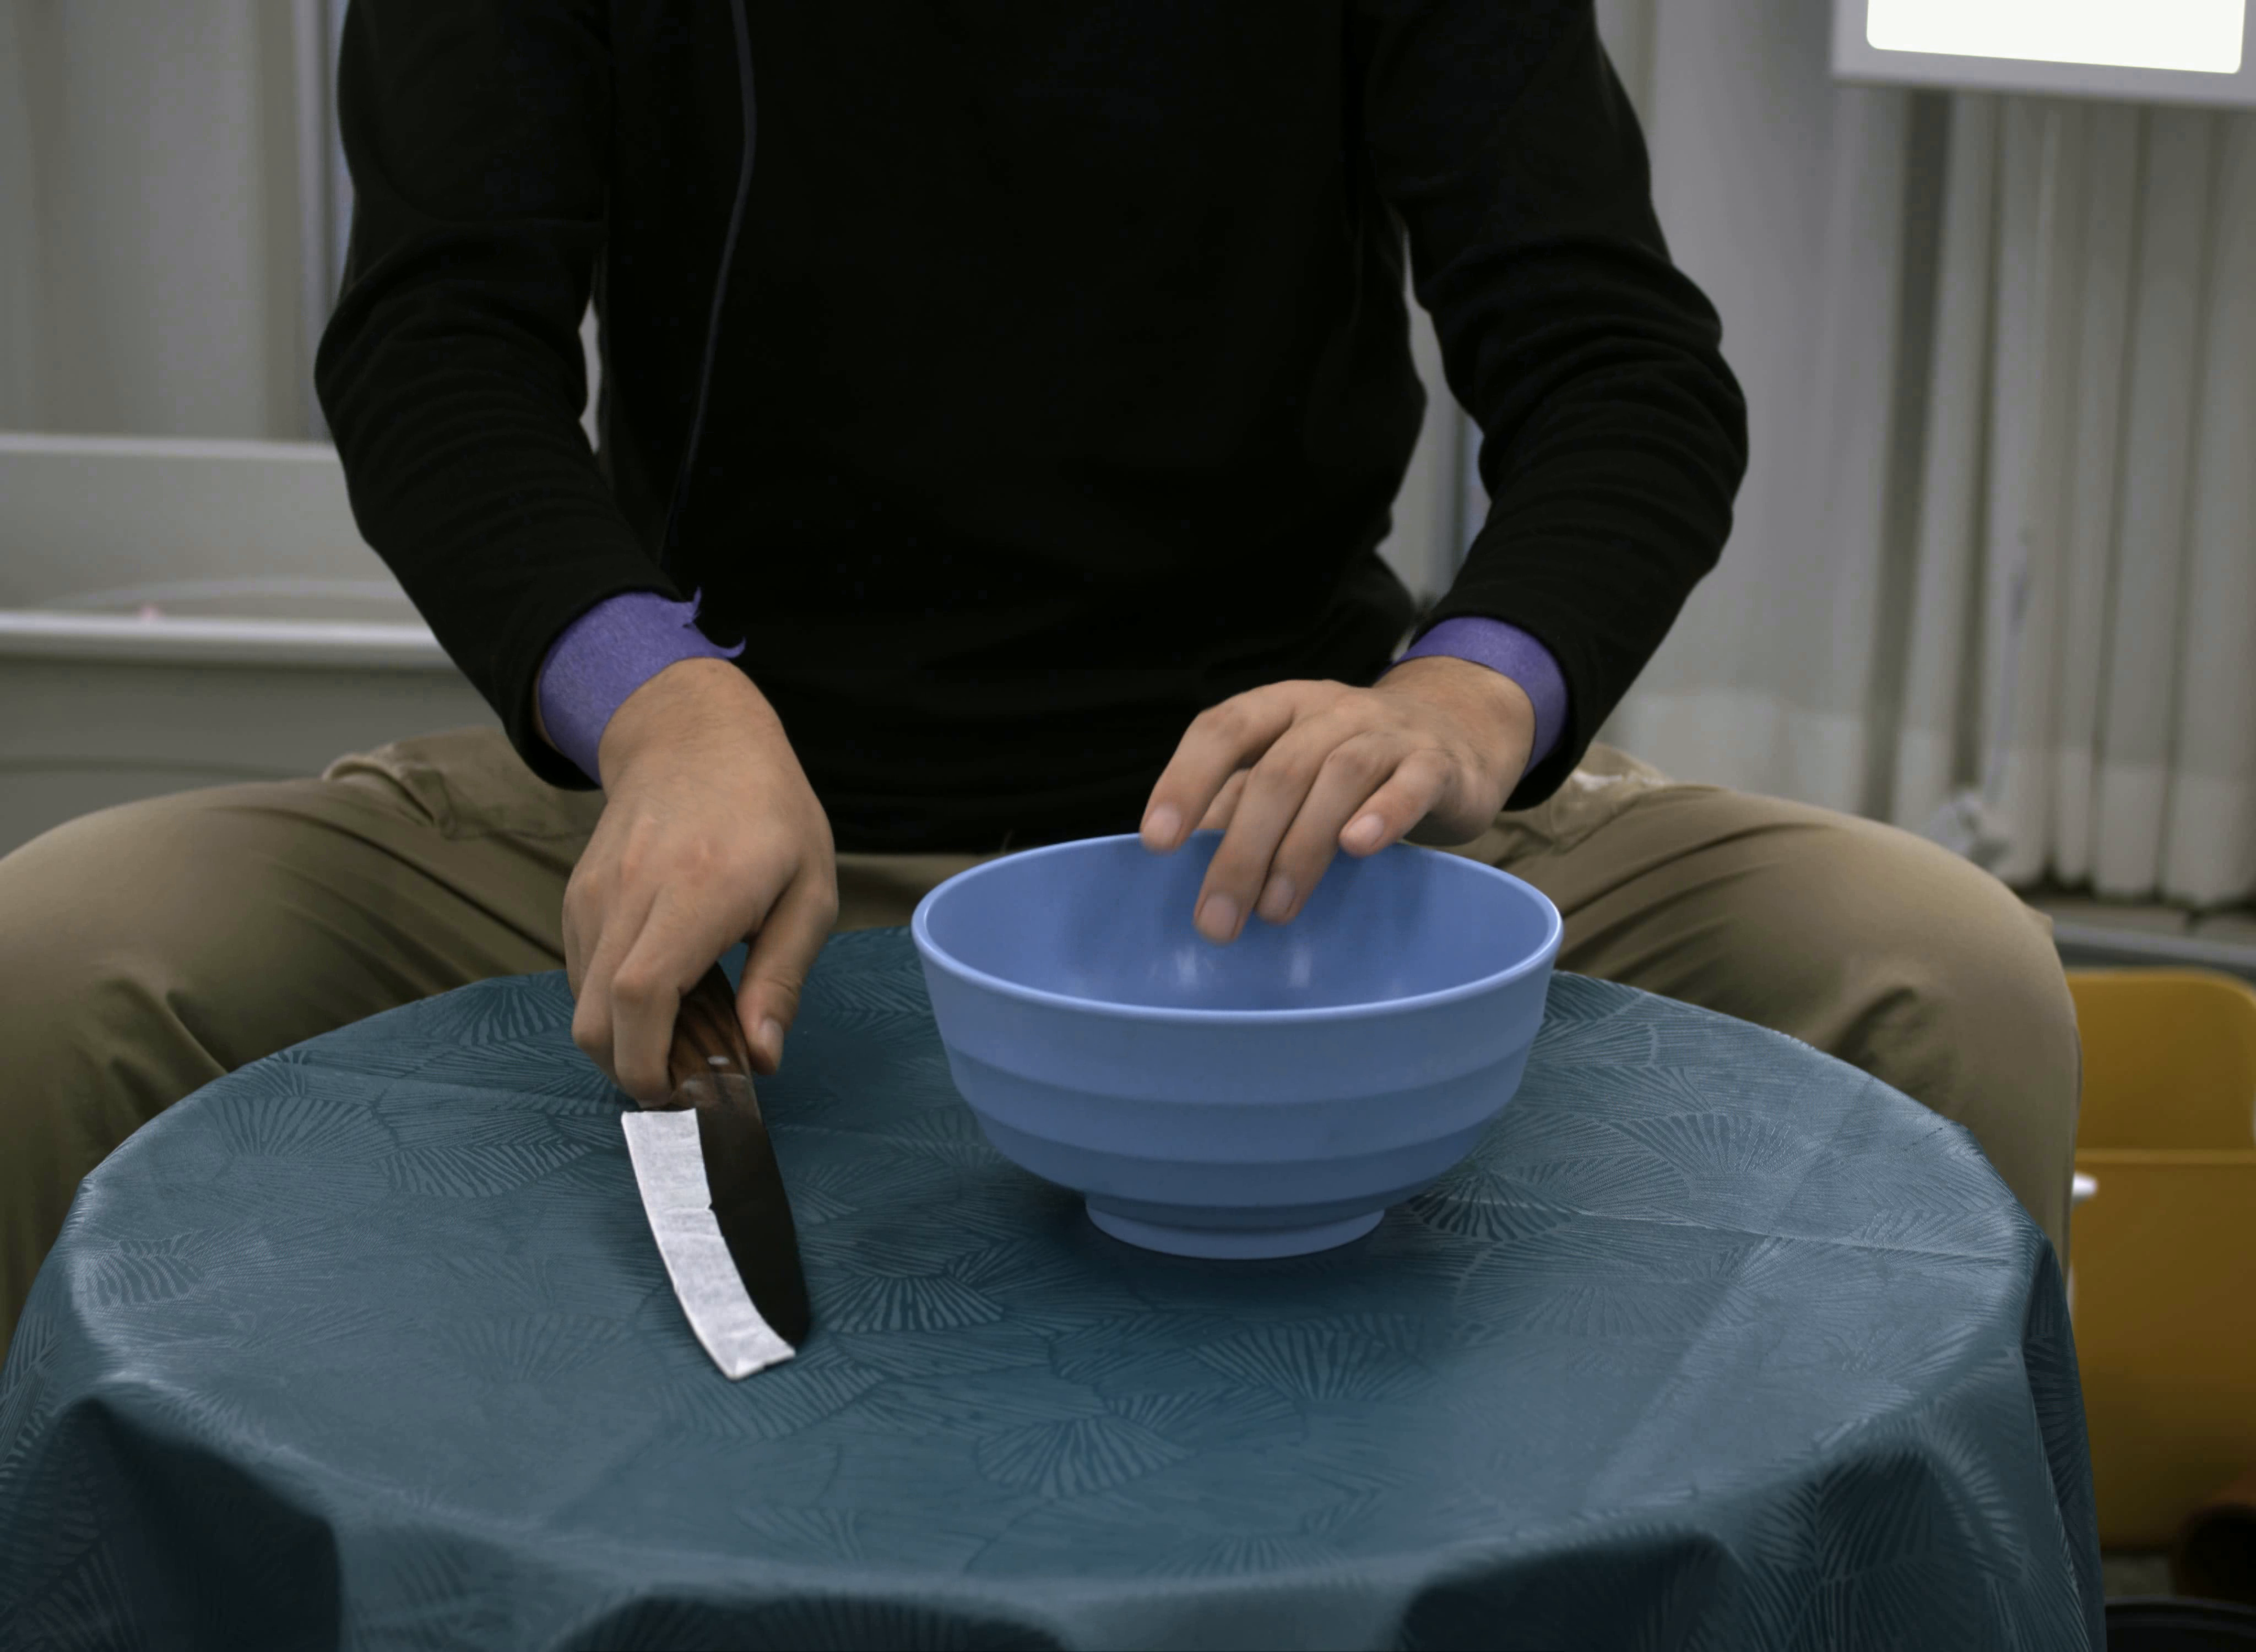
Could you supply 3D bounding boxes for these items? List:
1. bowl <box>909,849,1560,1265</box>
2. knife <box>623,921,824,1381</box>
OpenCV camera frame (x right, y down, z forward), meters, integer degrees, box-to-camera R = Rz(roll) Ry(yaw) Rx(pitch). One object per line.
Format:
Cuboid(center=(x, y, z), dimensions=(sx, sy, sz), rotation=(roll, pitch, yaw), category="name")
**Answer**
Cuboid(center=(0.032, 0.074, 1.594), dimensions=(0.196, 0.096, 0.195), rotation=(0, 14, 1), category="bowl")
Cuboid(center=(-0.127, 0.096, 1.594), dimensions=(0.050, 0.020, 0.286), rotation=(0, 24, -10), category="knife")
